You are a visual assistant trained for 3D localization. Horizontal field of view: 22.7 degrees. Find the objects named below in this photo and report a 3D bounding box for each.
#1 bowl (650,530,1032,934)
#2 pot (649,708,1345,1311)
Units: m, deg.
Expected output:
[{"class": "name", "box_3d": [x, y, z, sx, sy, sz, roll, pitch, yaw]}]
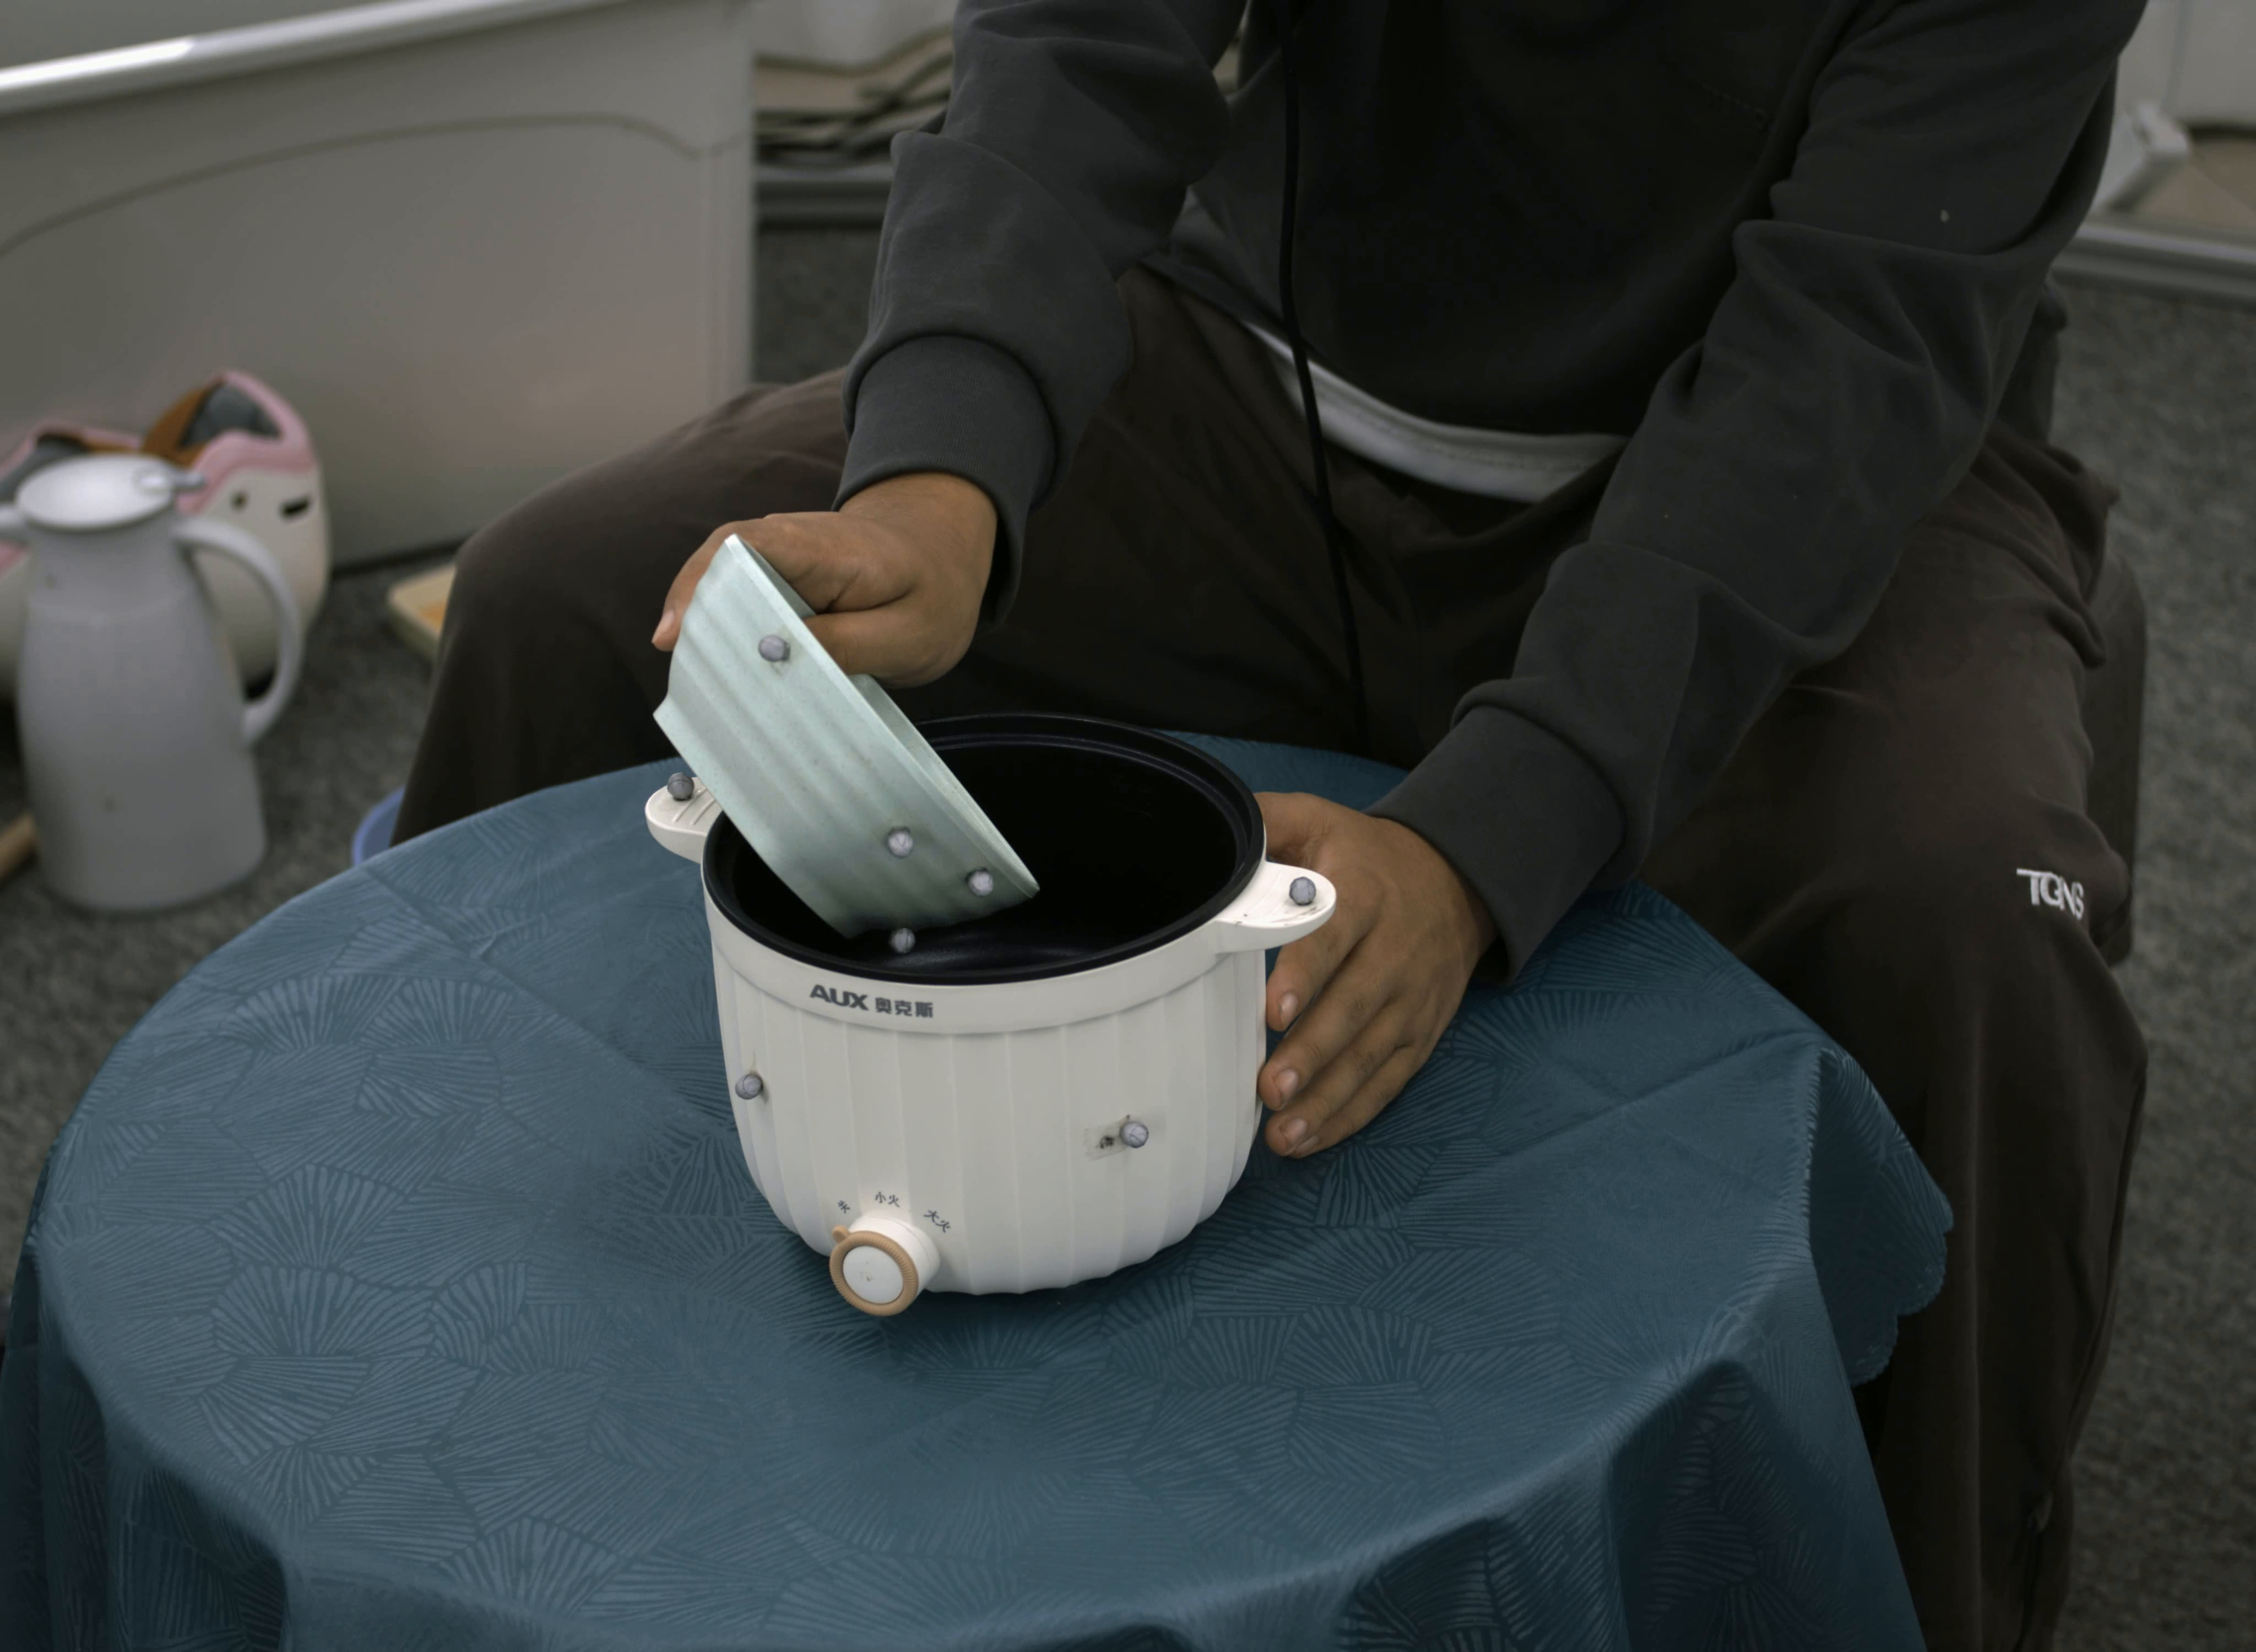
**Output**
[{"class": "bowl", "box_3d": [-0.099, -0.018, 1.785, 0.058, 0.150, 0.153, -39, 31, 3]}, {"class": "pot", "box_3d": [-0.042, 0.063, 1.830, 0.238, 0.141, 0.193, 6, 25, 21]}]
